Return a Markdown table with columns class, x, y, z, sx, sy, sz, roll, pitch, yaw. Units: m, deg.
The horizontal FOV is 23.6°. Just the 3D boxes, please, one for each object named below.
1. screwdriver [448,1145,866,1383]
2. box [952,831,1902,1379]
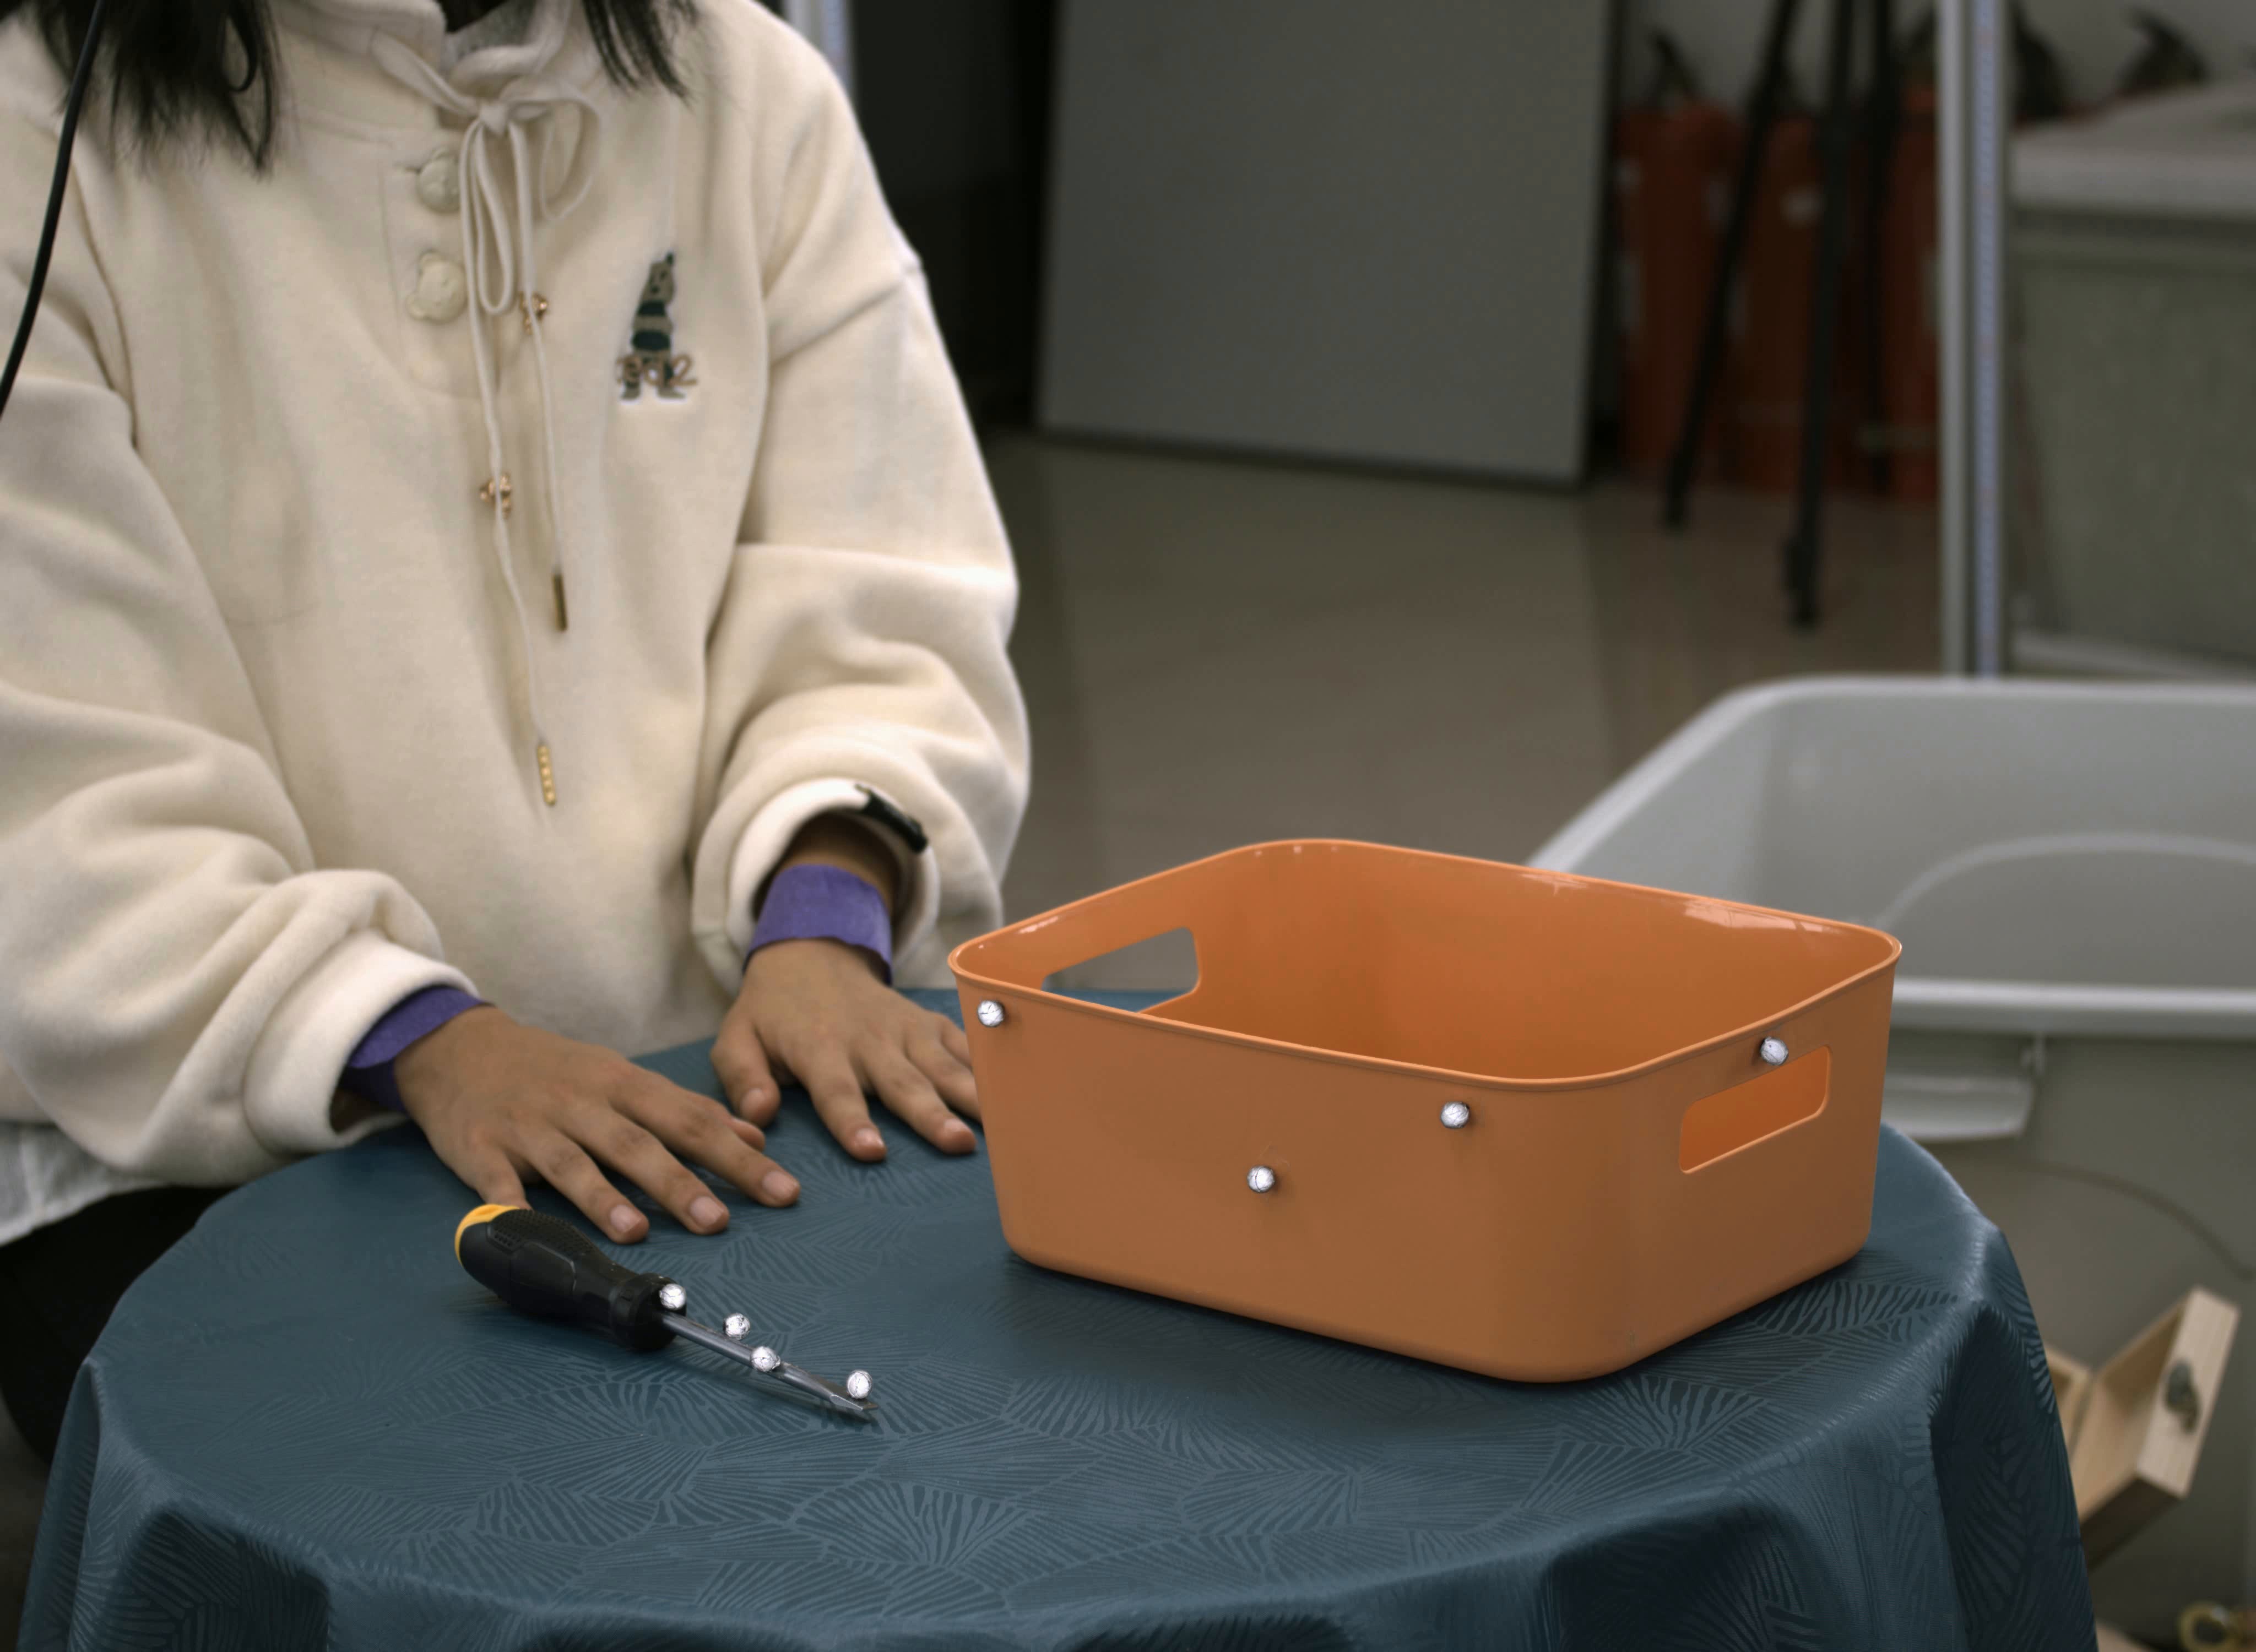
| class | x | y | z | sx | sy | sz | roll | pitch | yaw |
| --- | --- | --- | --- | --- | --- | --- | --- | --- | --- |
| screwdriver | -0.141 | 0.137 | 1.654 | 0.031 | 0.032 | 0.200 | -16 | 27 | -42 |
| box | 0.094 | 0.083 | 1.675 | 0.275 | 0.103 | 0.195 | 9 | 20 | 42 |
